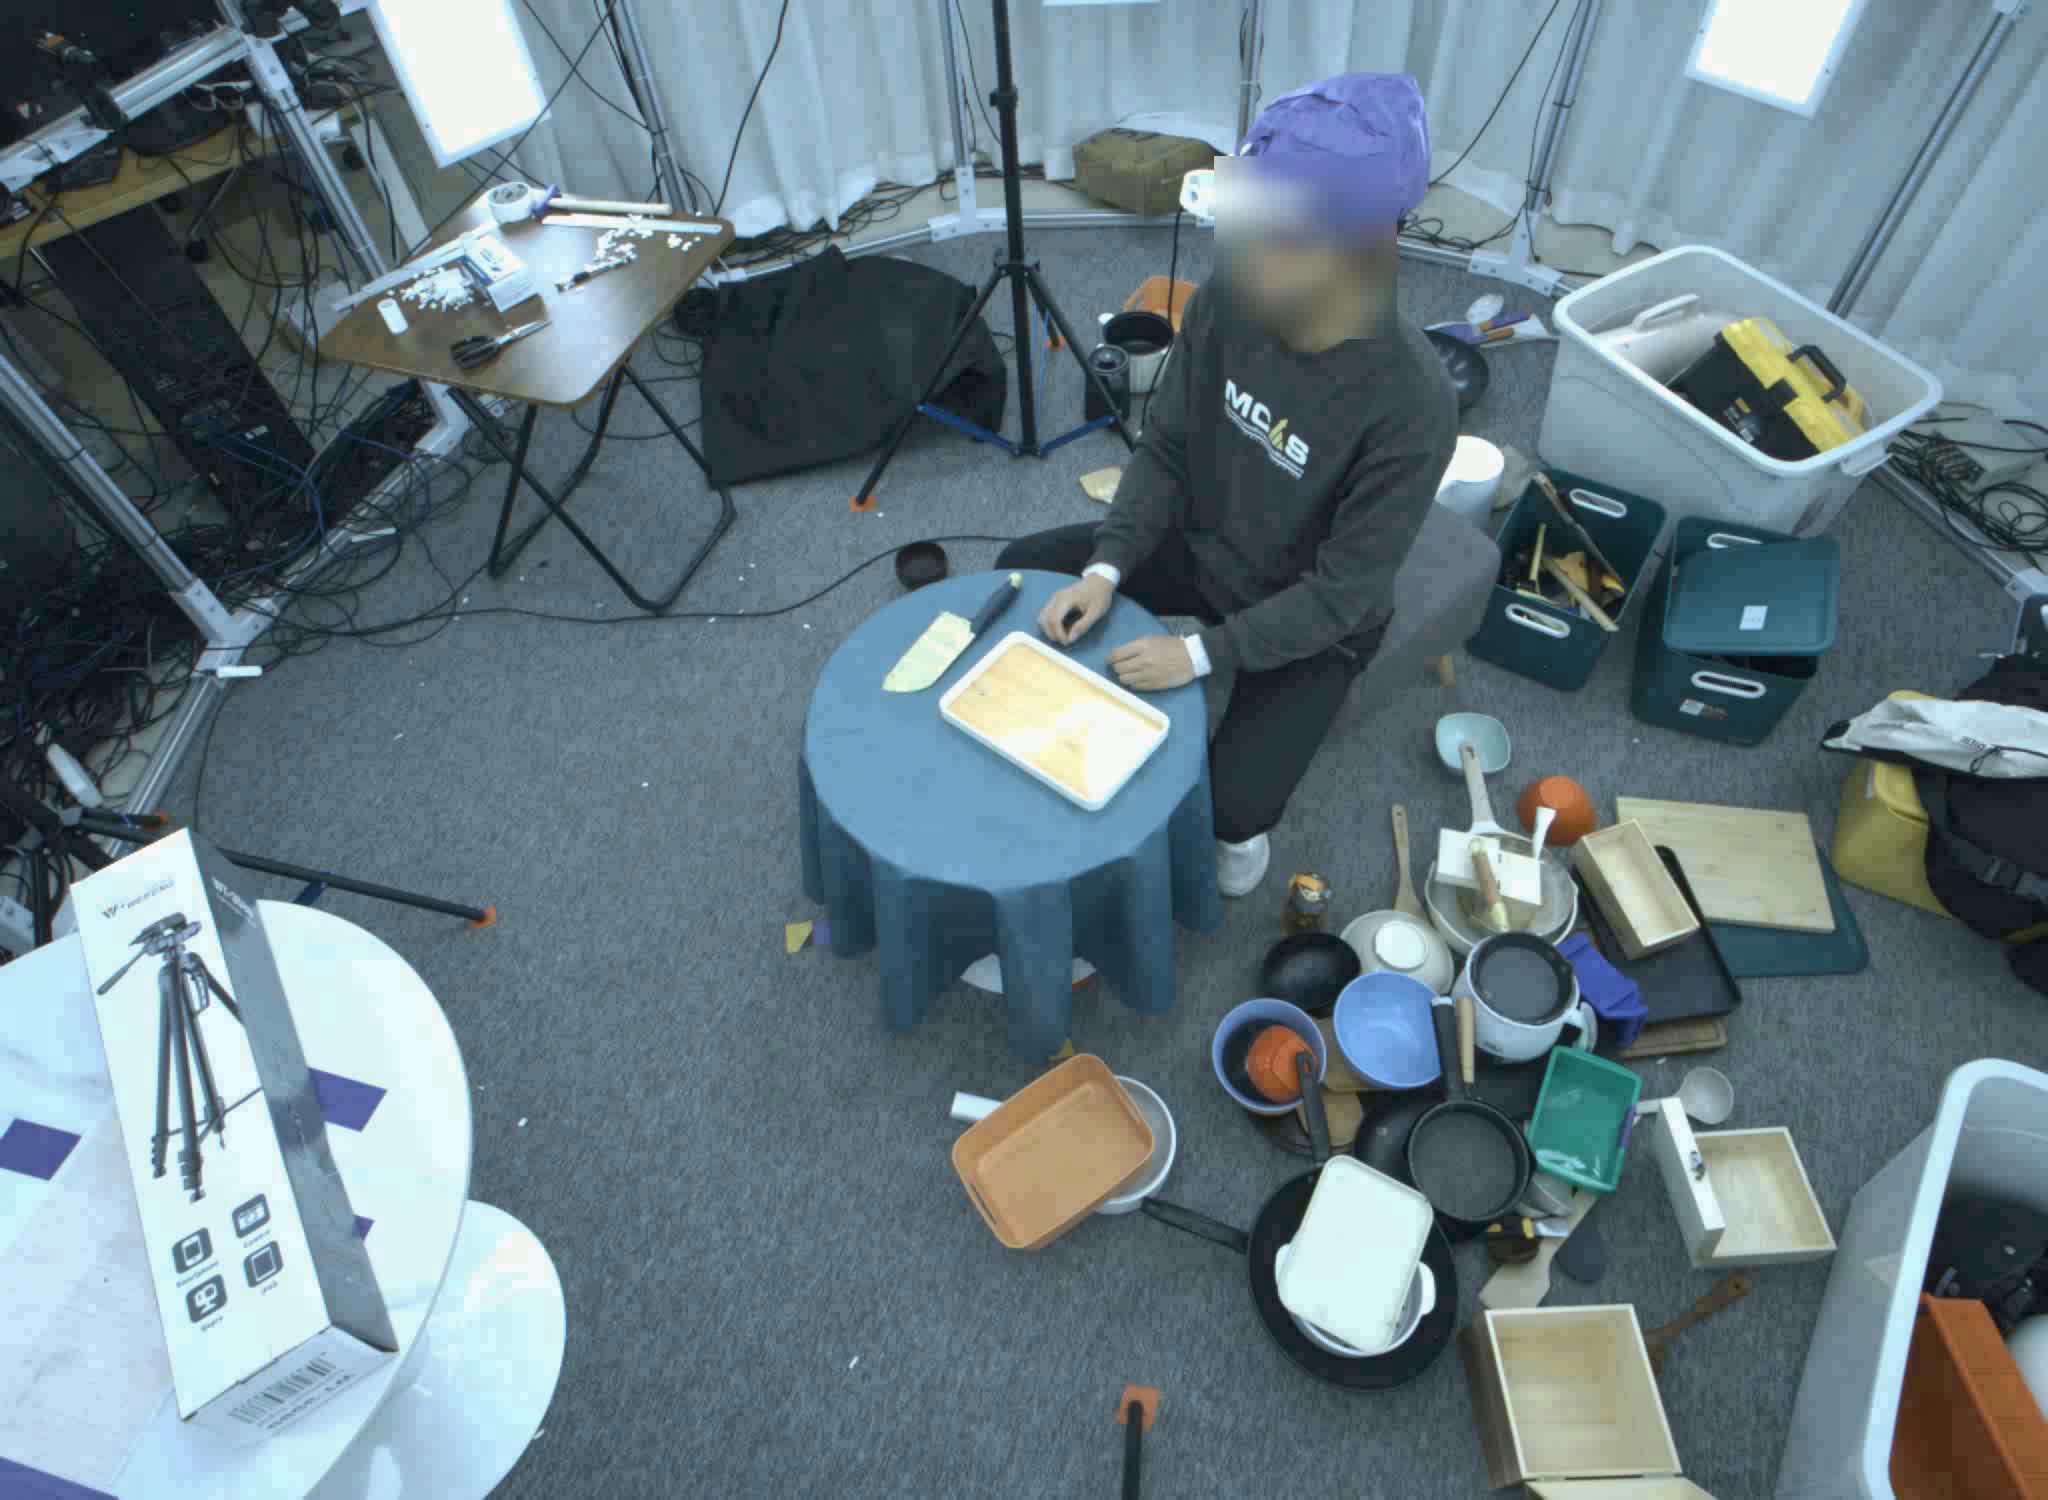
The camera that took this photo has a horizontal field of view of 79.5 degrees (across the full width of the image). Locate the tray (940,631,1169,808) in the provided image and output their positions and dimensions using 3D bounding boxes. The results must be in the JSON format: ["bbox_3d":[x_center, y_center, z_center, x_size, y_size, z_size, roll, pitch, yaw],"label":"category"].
[{"bbox_3d":[0.043,-0.050,1.813,0.295,0.027,0.193,33,60,22],"label":"tray"}]

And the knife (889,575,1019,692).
[{"bbox_3d":[-0.109,-0.186,1.922,0.080,0.027,0.291,33,62,21],"label":"knife"}]
